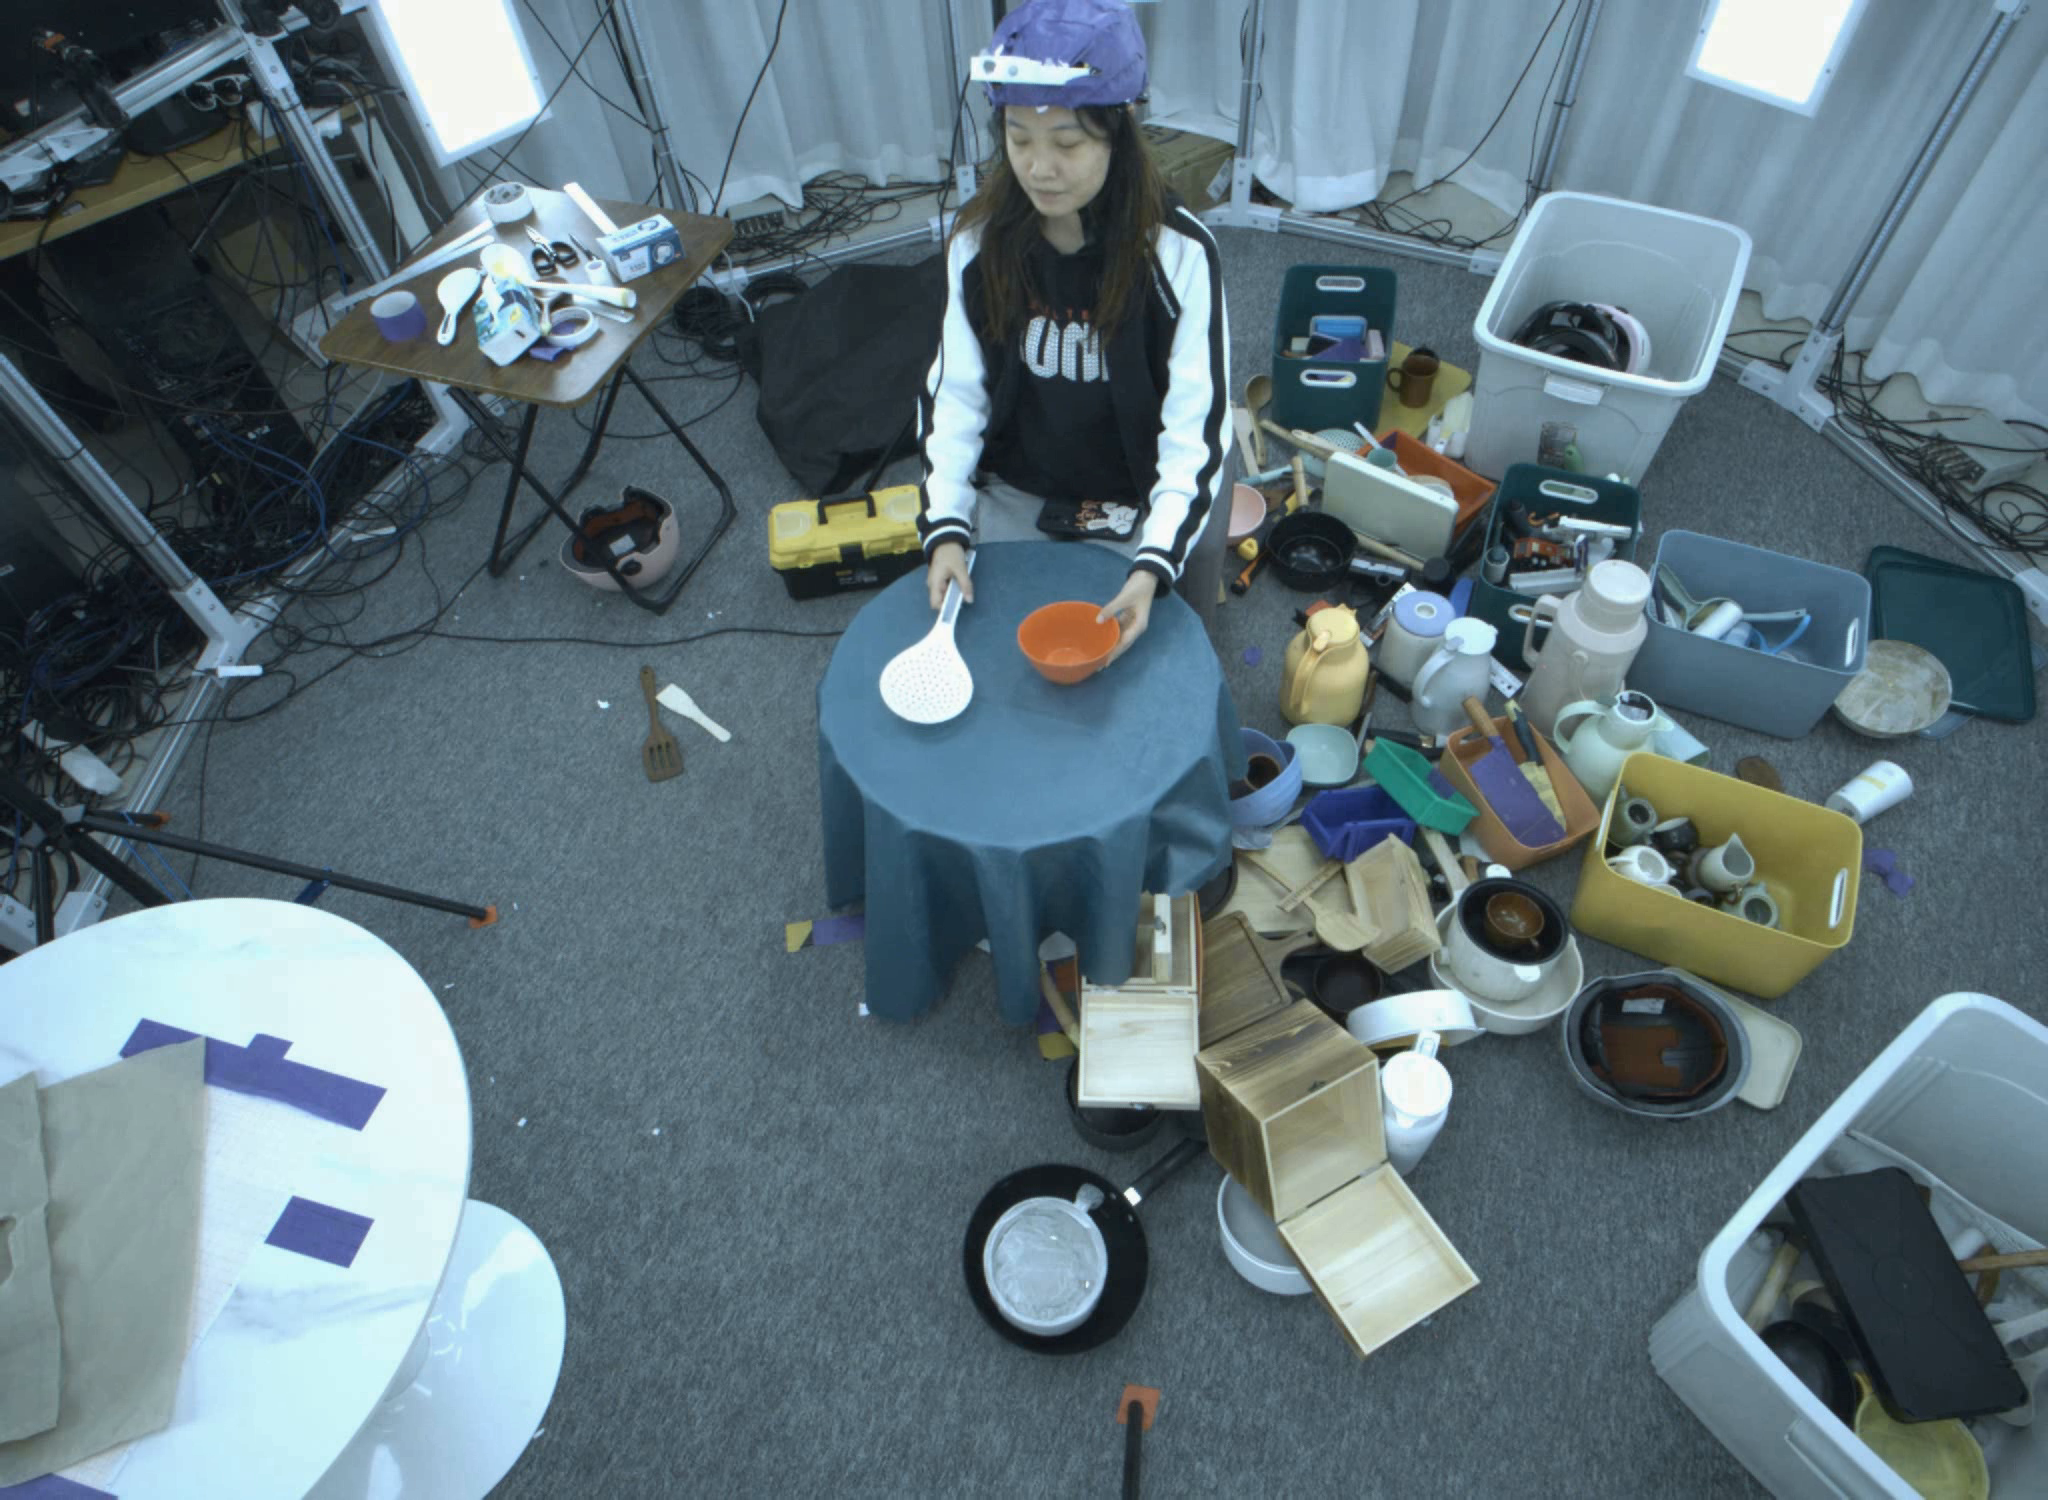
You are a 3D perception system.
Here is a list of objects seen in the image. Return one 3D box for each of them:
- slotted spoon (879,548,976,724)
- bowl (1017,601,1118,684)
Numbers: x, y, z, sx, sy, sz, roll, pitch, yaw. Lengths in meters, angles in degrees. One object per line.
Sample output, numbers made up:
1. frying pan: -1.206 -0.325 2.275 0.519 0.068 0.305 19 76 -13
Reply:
1. slotted spoon: -0.125 -0.180 1.876 0.136 0.046 0.348 14 62 -1
2. bowl: 0.065 -0.147 1.826 0.148 0.106 0.146 -1 55 2
